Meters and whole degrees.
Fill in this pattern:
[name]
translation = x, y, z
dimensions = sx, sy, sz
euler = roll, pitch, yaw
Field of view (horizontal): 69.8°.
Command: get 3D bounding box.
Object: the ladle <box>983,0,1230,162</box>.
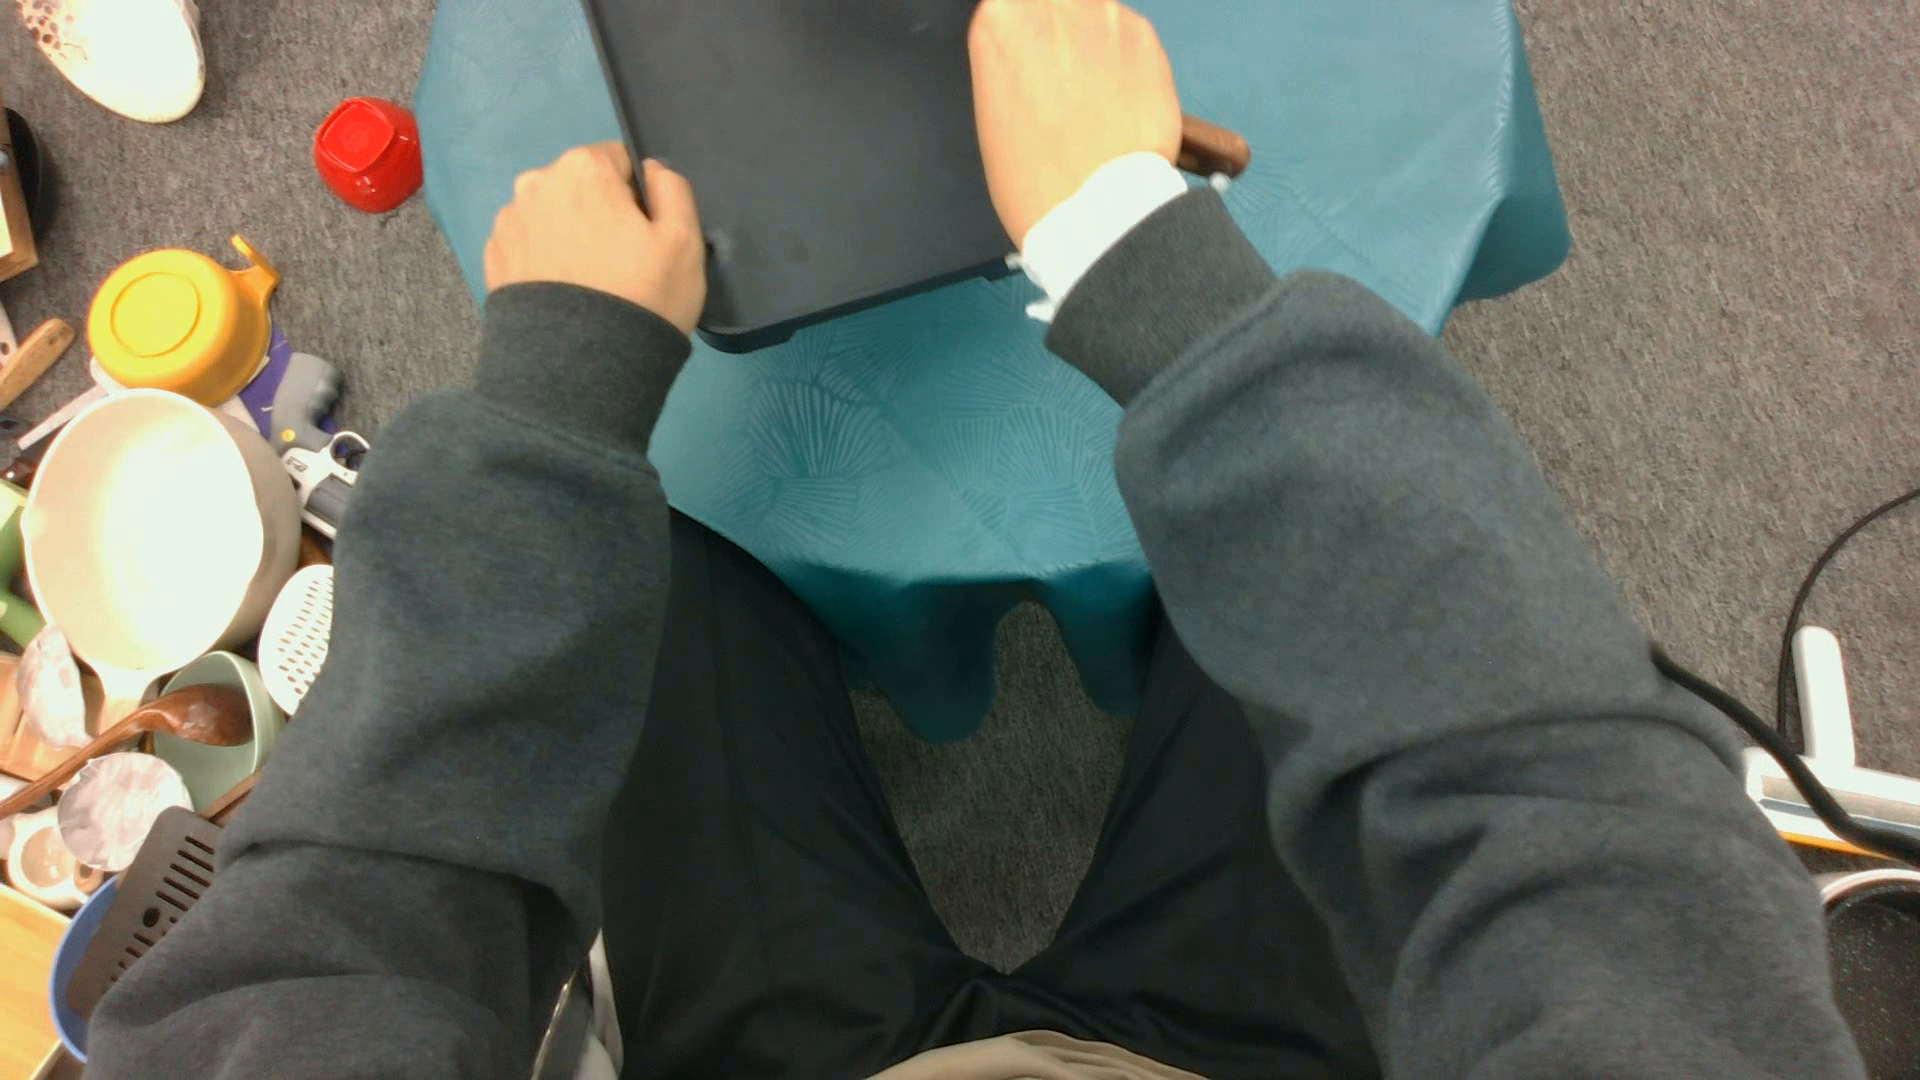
[ladle]
translation = -0.002, -0.228, 0.573
dimensions = 0.065, 0.076, 0.260
euler = -45, 81, -6

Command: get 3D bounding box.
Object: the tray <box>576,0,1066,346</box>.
[tray]
translation = -0.085, -0.256, 0.642
dimensions = 0.184, 0.037, 0.318
euler = -17, 79, -9
